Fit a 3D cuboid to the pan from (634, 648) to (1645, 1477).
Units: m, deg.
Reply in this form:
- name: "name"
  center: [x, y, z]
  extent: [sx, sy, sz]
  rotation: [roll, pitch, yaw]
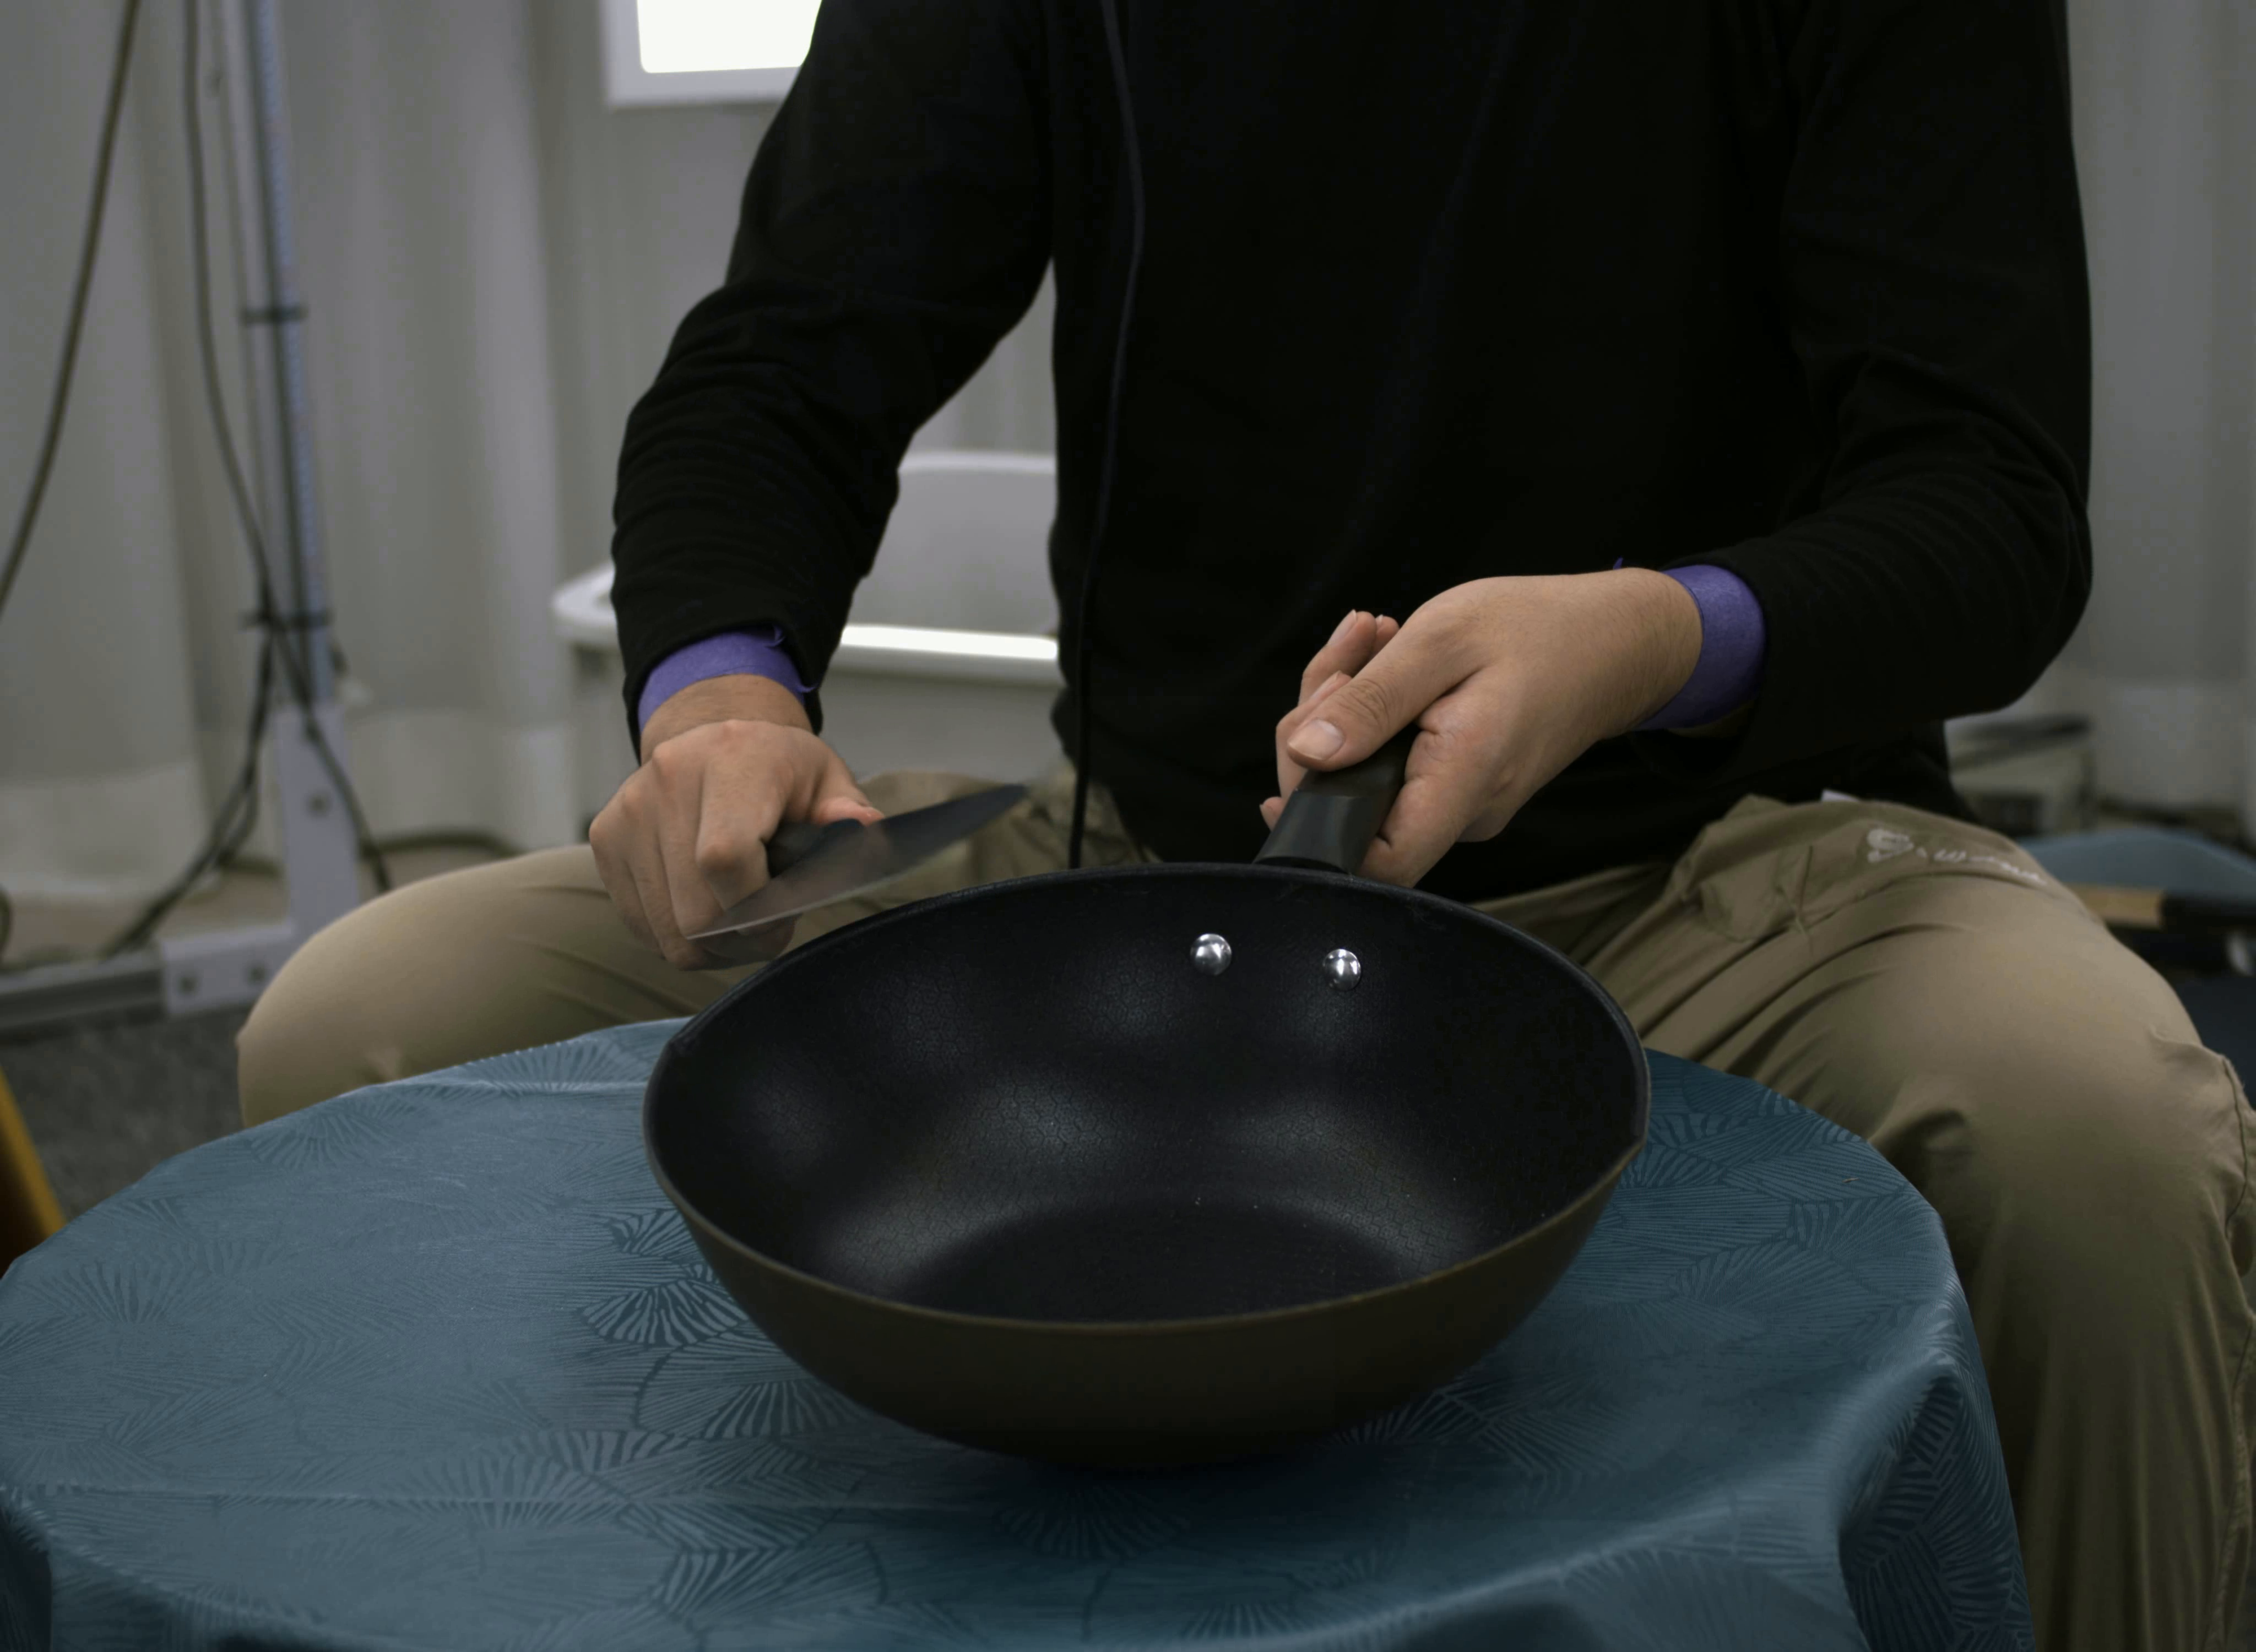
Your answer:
- name: "pan"
  center: [0.033, 0.069, 1.622]
  extent: [0.288, 0.086, 0.467]
  rotation: [5, 26, 18]

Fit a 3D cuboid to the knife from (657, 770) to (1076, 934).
- name: "knife"
  center: [-0.094, 0.013, 1.686]
  extent: [0.081, 0.021, 0.302]
  rotation: [-33, 7, -19]
